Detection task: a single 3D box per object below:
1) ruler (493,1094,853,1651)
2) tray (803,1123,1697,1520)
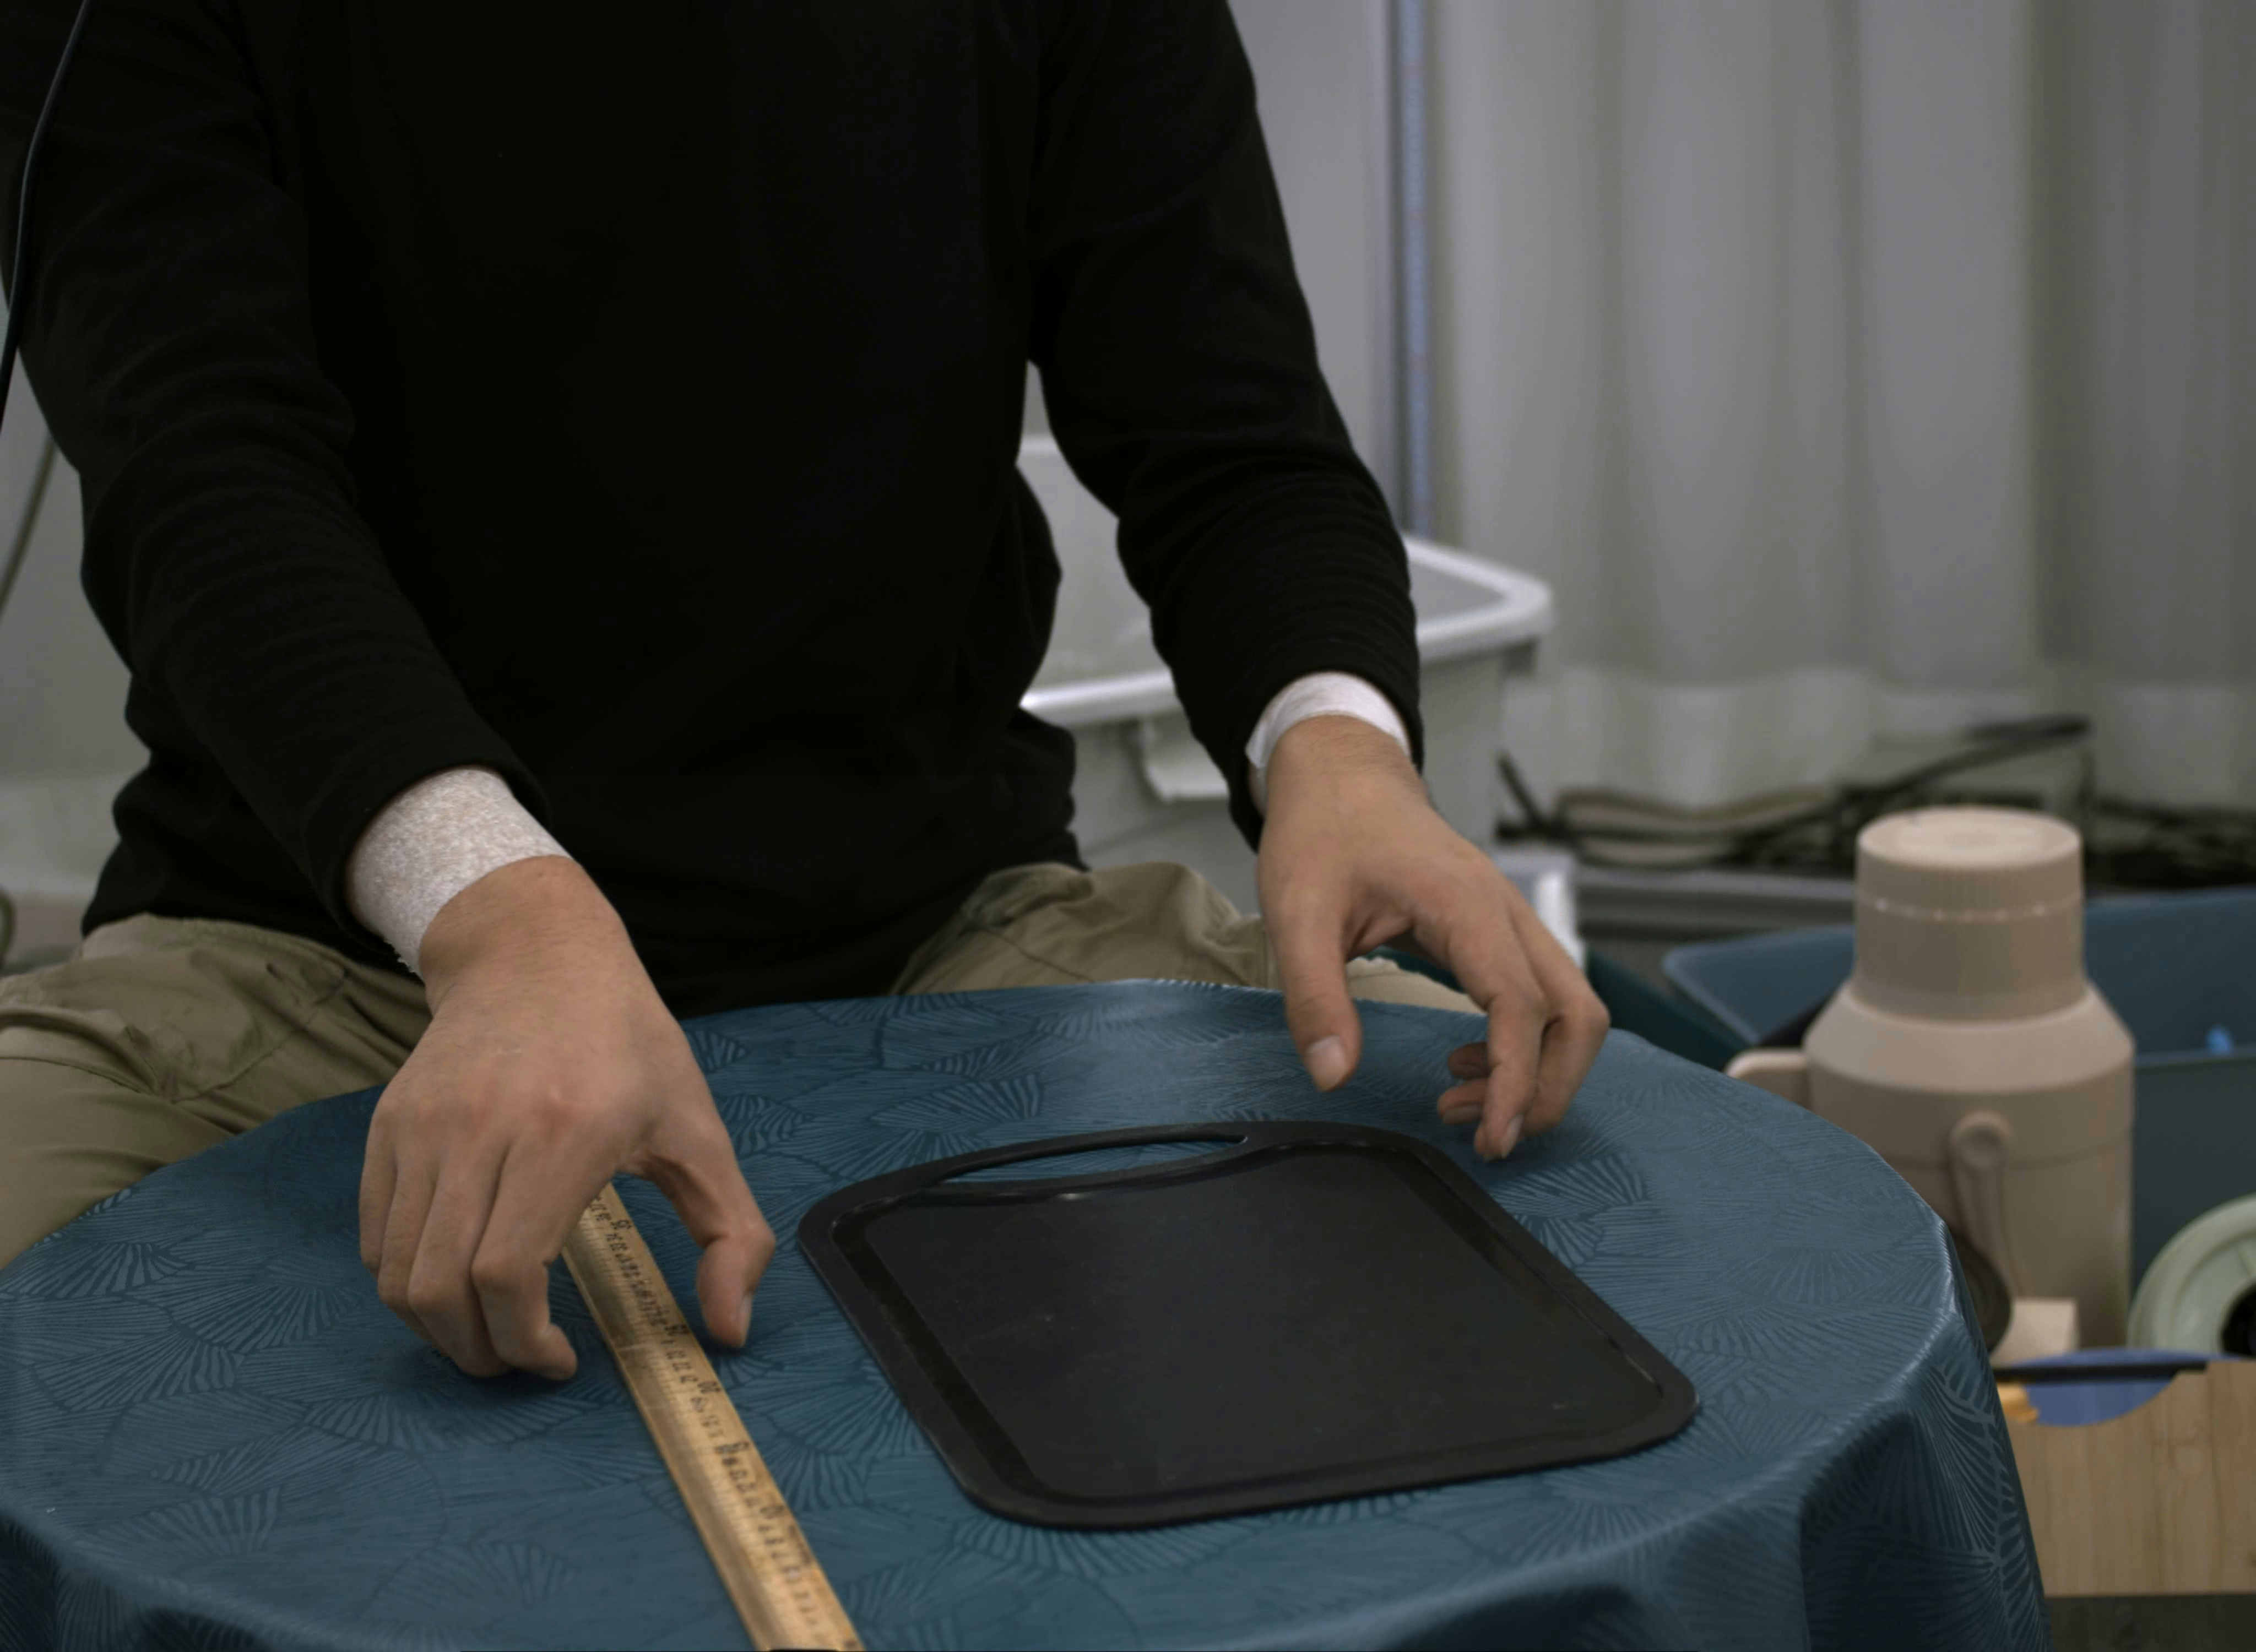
[{"bbox_3d":[-0.139,0.151,1.595,0.026,0.006,0.504,-3,14,-14],"label":"ruler"},{"bbox_3d":[0.025,0.138,1.609,0.210,0.010,0.328,-6,15,-13],"label":"tray"}]
